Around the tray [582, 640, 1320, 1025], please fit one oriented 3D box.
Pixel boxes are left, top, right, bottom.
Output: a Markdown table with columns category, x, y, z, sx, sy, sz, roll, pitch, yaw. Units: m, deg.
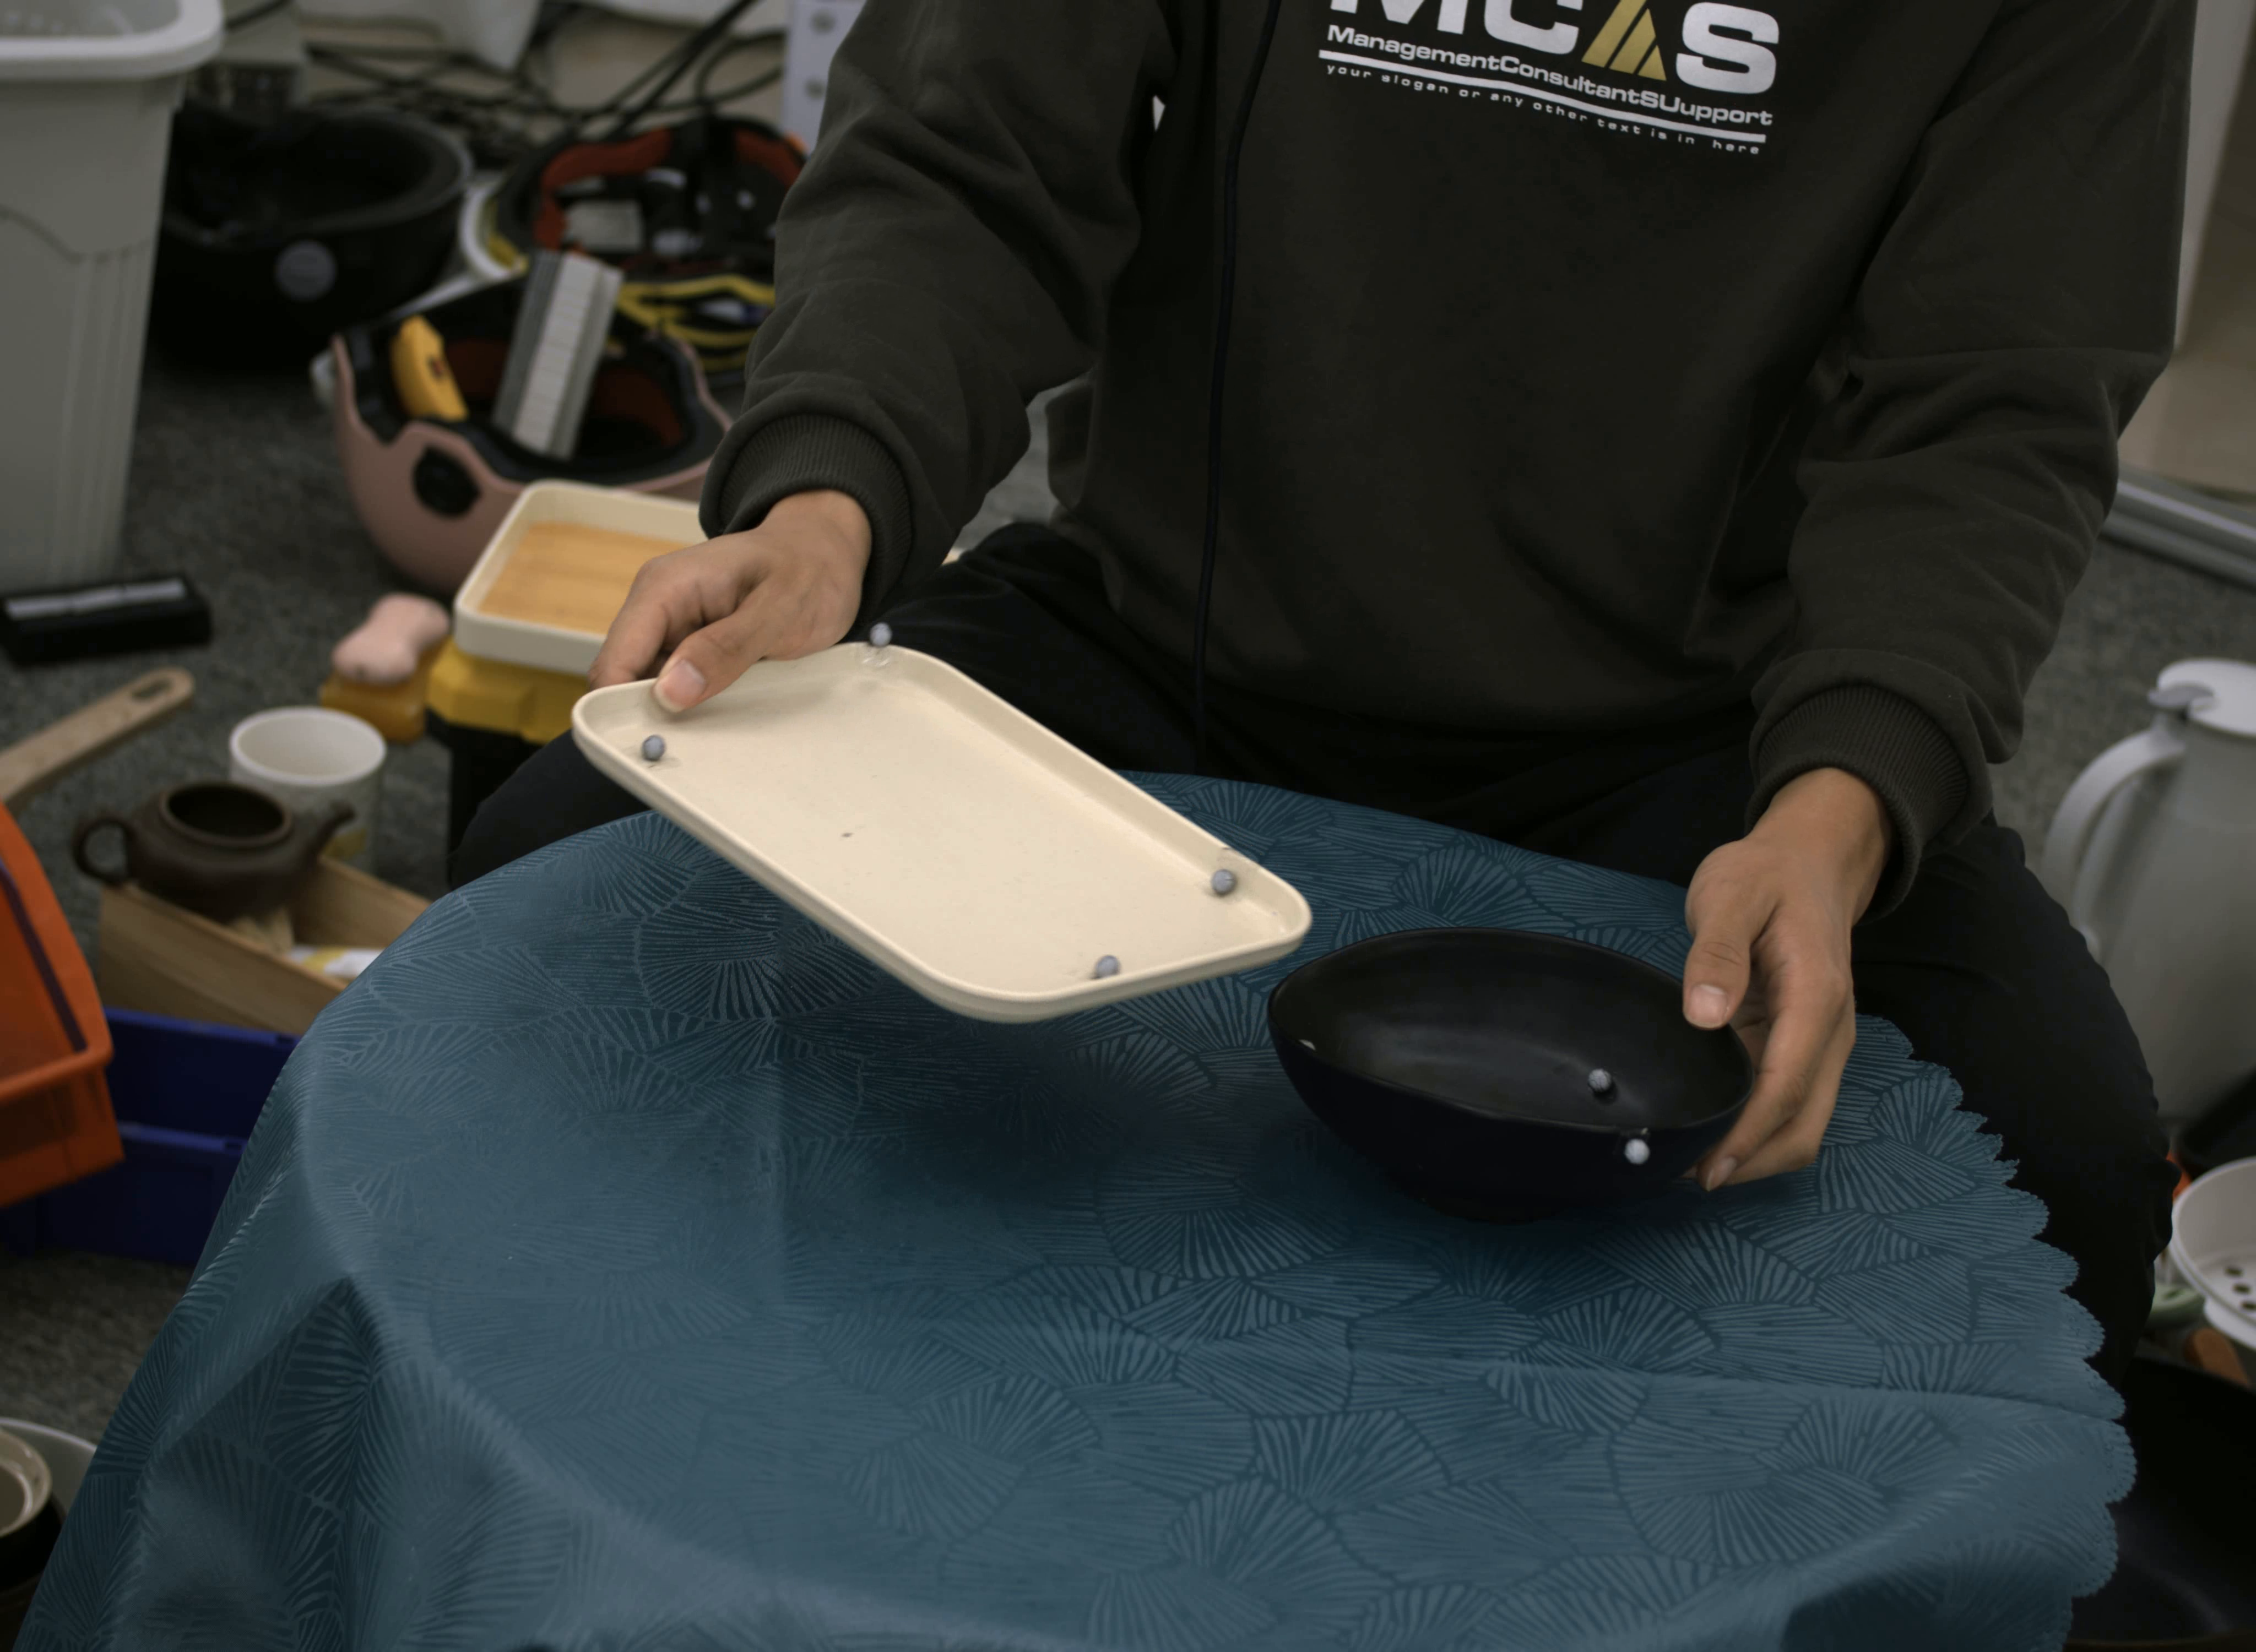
| category | x | y | z | sx | sy | sz | roll | pitch | yaw |
| --- | --- | --- | --- | --- | --- | --- | --- | --- | --- |
| tray | -0.063 | 0.001 | 1.834 | 0.170 | 0.017 | 0.241 | -13 | 35 | -43 |

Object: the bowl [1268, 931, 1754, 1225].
| category | x | y | z | sx | sy | sz | roll | pitch | yaw |
| --- | --- | --- | --- | --- | --- | --- | --- | --- | --- |
| bowl | 0.127 | 0.094 | 1.827 | 0.170 | 0.066 | 0.137 | 12 | 26 | 14 |
